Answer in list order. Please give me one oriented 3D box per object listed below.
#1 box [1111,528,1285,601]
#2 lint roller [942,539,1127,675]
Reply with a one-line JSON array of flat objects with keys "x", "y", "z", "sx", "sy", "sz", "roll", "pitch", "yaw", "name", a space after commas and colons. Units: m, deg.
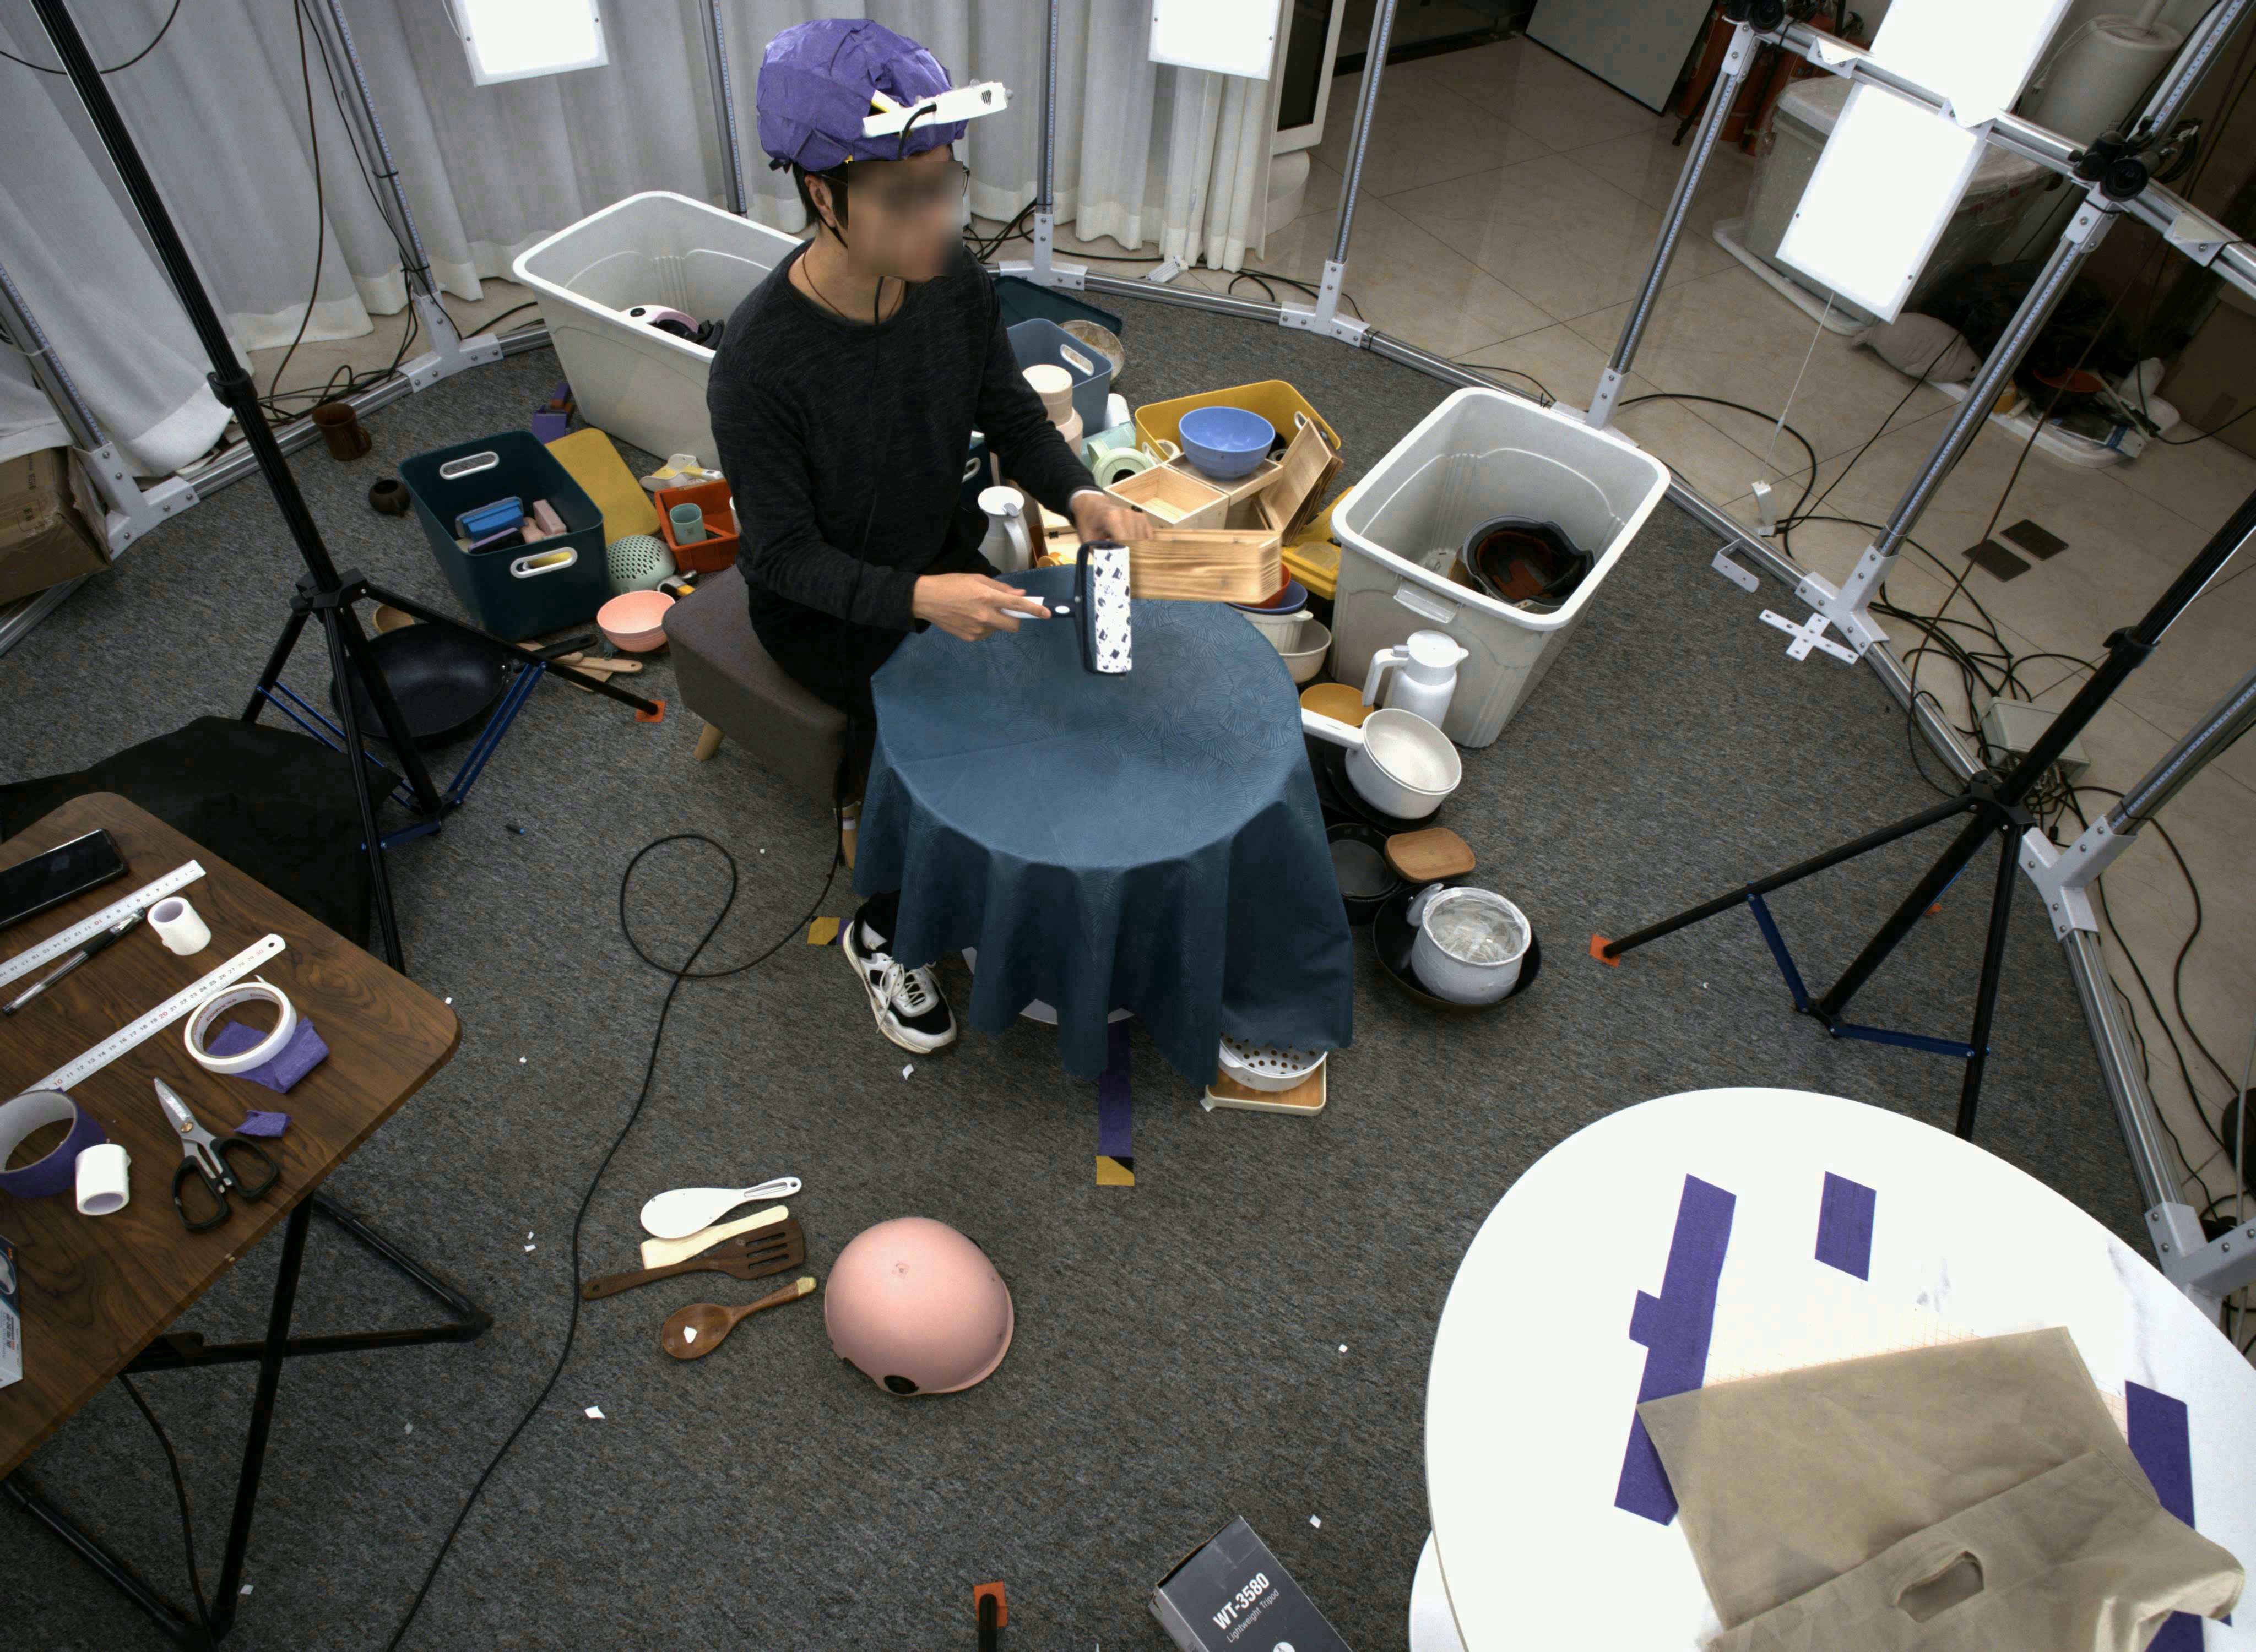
[{"x": 0.095, "y": -0.352, "z": 1.722, "sx": 0.212, "sy": 0.079, "sz": 0.108, "roll": 5, "pitch": 20, "yaw": 19, "name": "box"}, {"x": -0.126, "y": -0.284, "z": 1.697, "sx": 0.247, "sy": 0.173, "sz": 0.051, "roll": 0, "pitch": 21, "yaw": 9, "name": "lint roller"}]
